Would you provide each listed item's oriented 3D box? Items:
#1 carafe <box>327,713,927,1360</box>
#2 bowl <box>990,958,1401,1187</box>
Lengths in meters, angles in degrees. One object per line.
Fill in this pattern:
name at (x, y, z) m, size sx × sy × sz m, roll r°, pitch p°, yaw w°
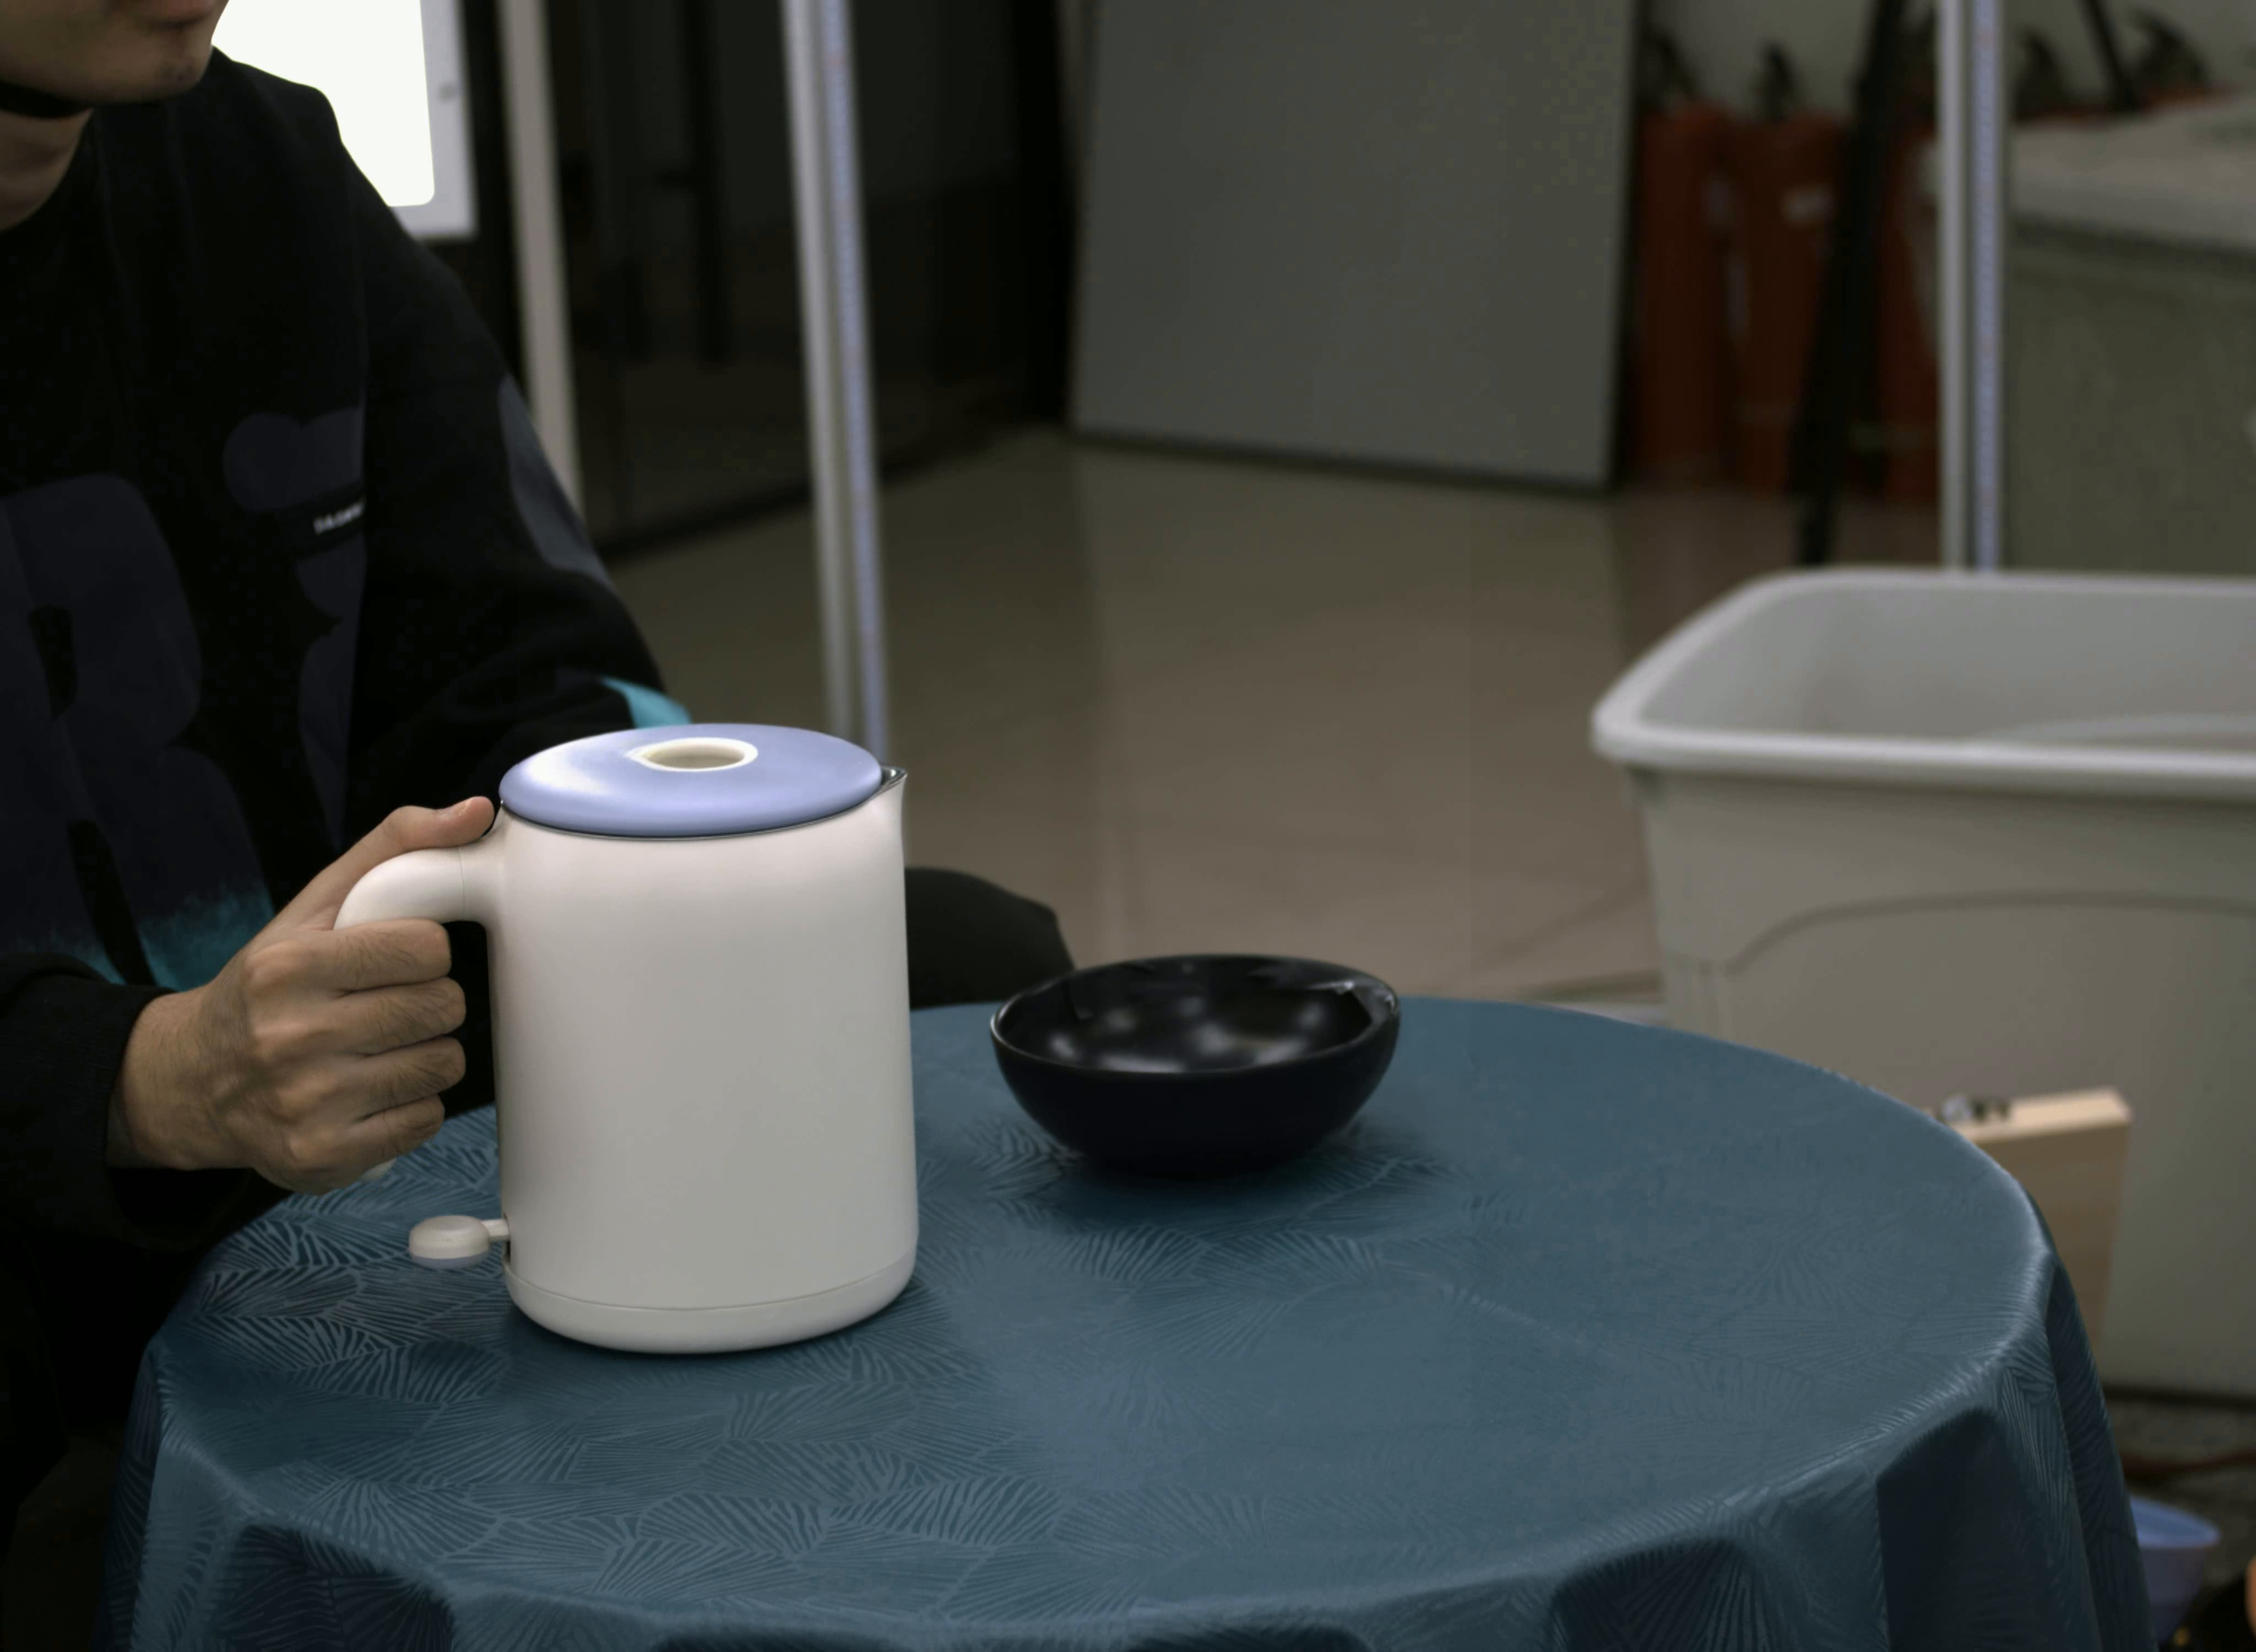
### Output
carafe at (-0.154, 0.067, 1.669) m, size 0.187 × 0.184 × 0.133 m, roll -8°, pitch 13°, yaw -14°
bowl at (0.025, 0.086, 1.804) m, size 0.138 × 0.050 × 0.140 m, roll -6°, pitch 14°, yaw 1°
